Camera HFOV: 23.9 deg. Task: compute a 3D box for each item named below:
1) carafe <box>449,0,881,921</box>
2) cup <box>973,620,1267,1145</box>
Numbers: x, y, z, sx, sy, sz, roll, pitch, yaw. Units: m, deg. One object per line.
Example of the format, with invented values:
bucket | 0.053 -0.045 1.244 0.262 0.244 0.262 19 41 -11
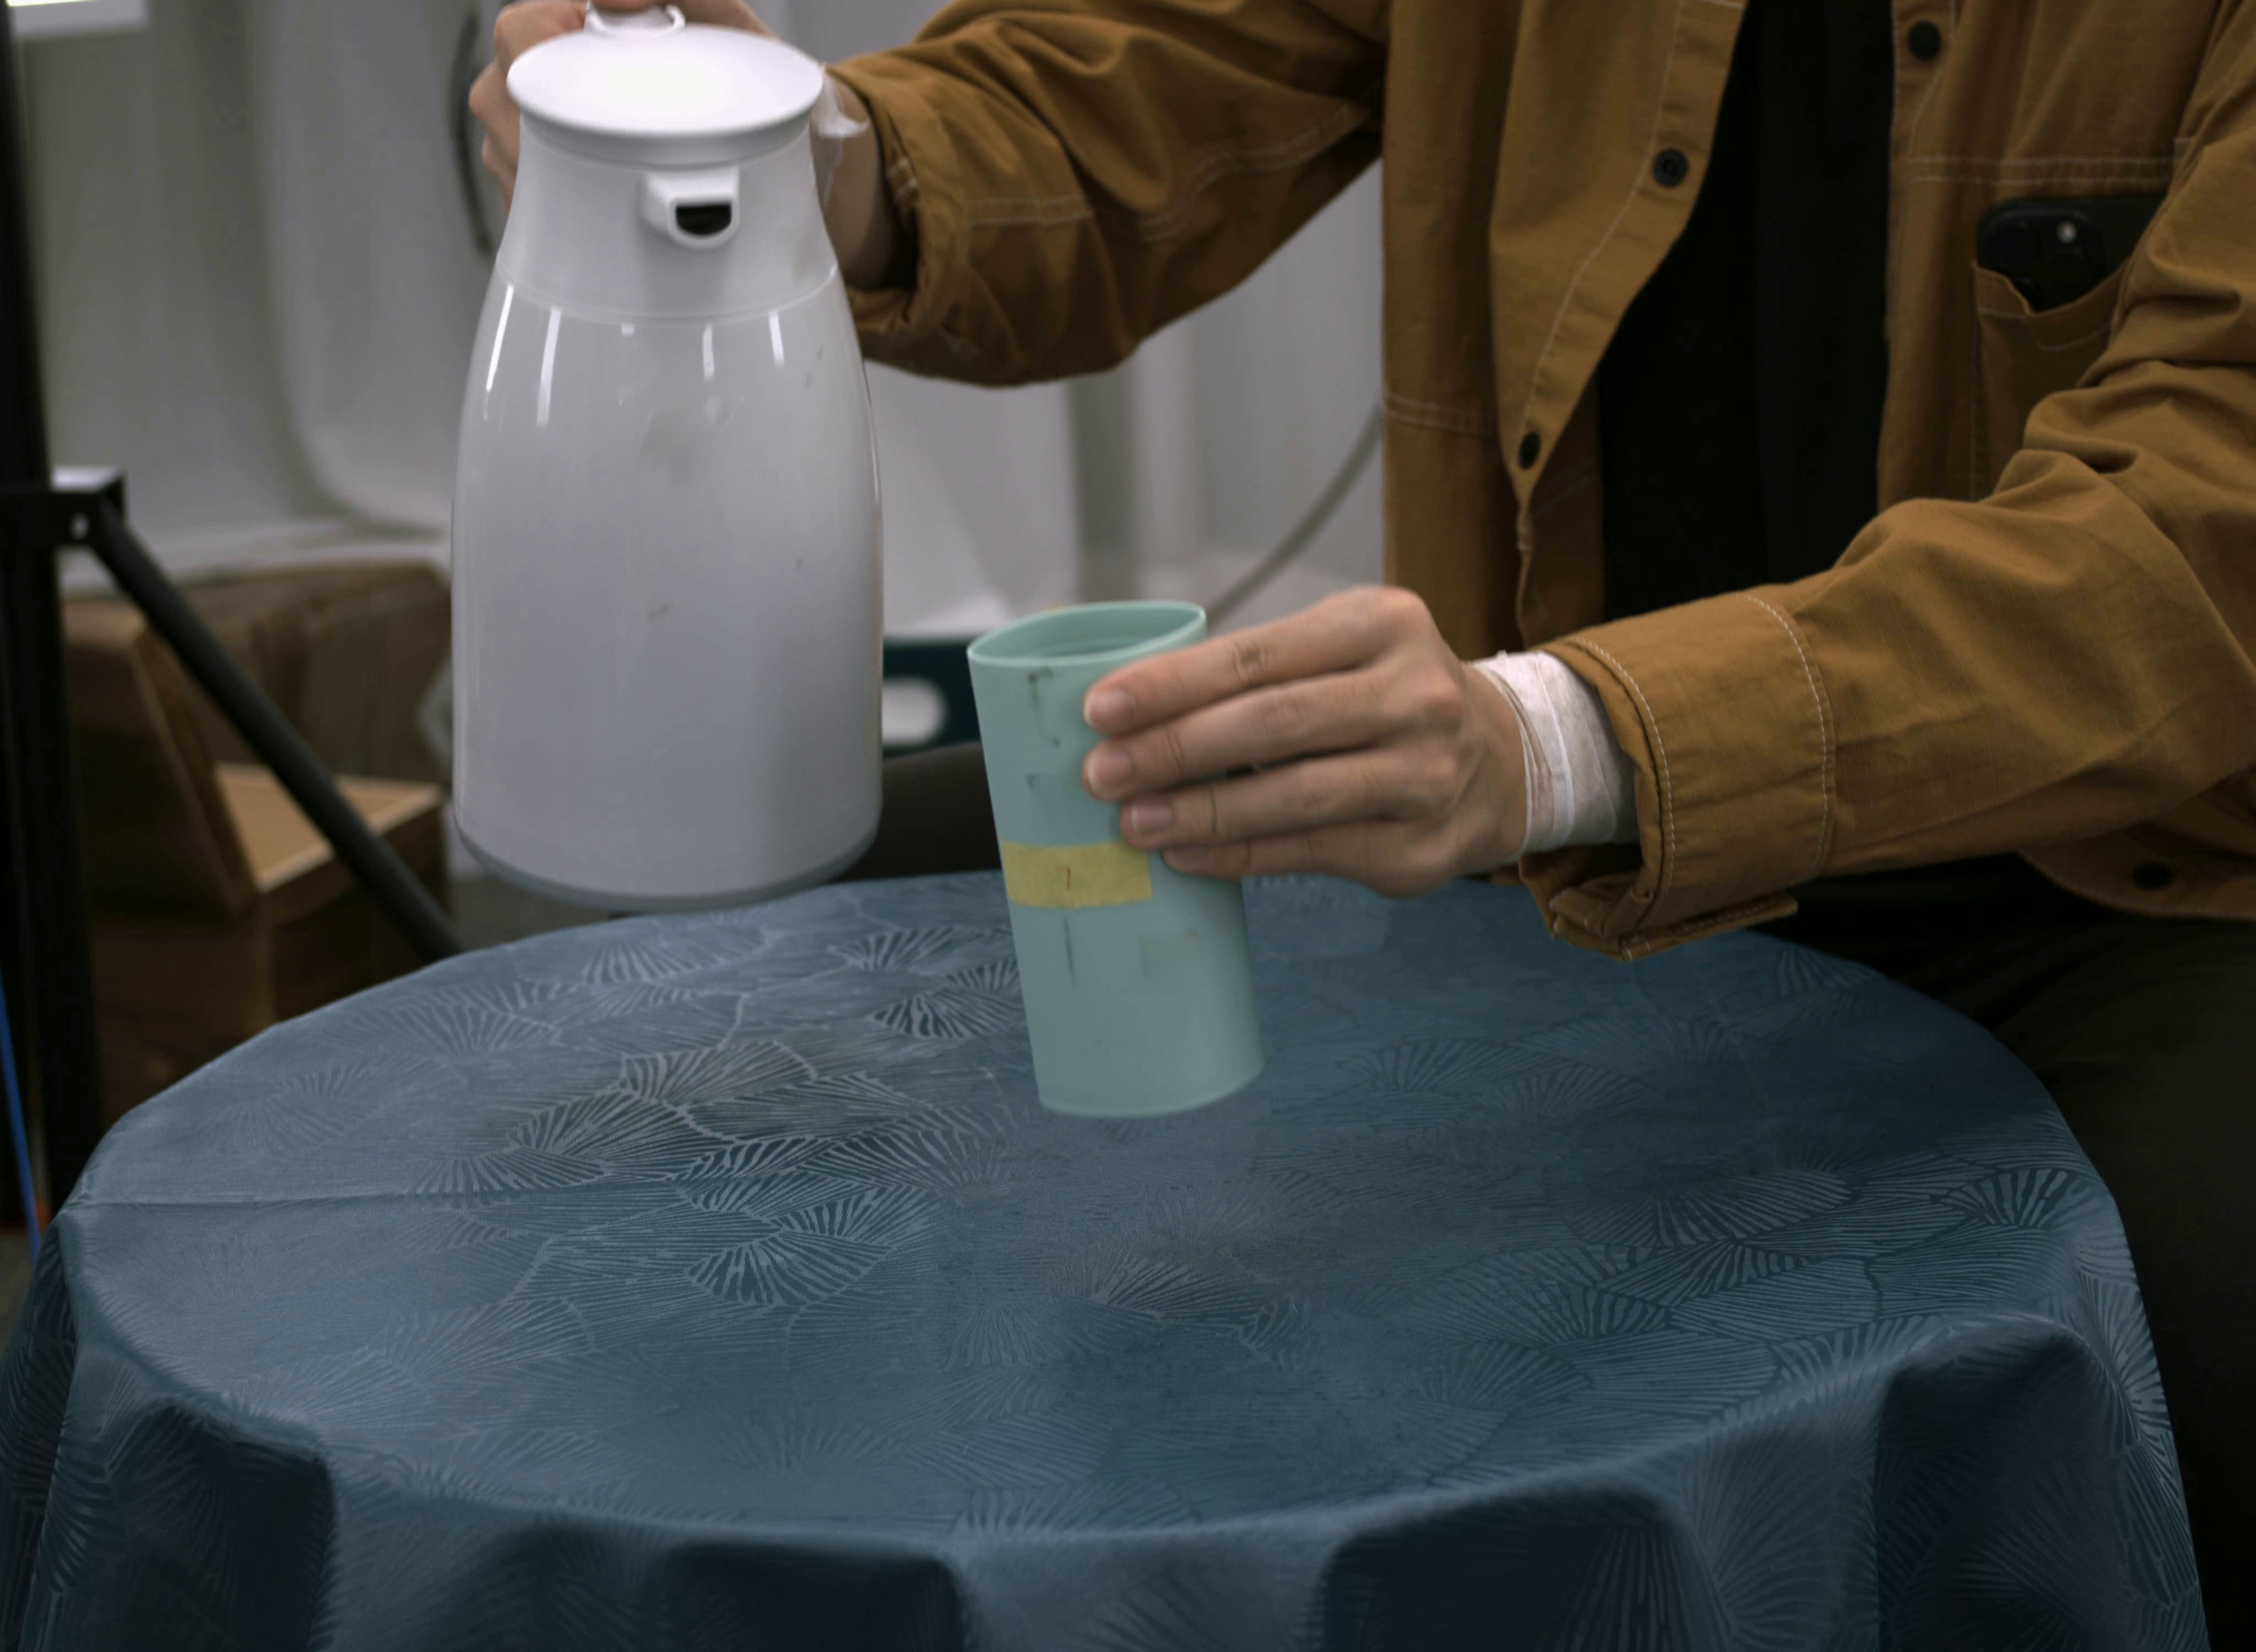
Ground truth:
carafe | -0.144 -0.120 1.607 0.130 0.248 0.170 -5 27 -14
cup | 0.000 0.014 1.459 0.066 0.132 0.067 -8 14 1
